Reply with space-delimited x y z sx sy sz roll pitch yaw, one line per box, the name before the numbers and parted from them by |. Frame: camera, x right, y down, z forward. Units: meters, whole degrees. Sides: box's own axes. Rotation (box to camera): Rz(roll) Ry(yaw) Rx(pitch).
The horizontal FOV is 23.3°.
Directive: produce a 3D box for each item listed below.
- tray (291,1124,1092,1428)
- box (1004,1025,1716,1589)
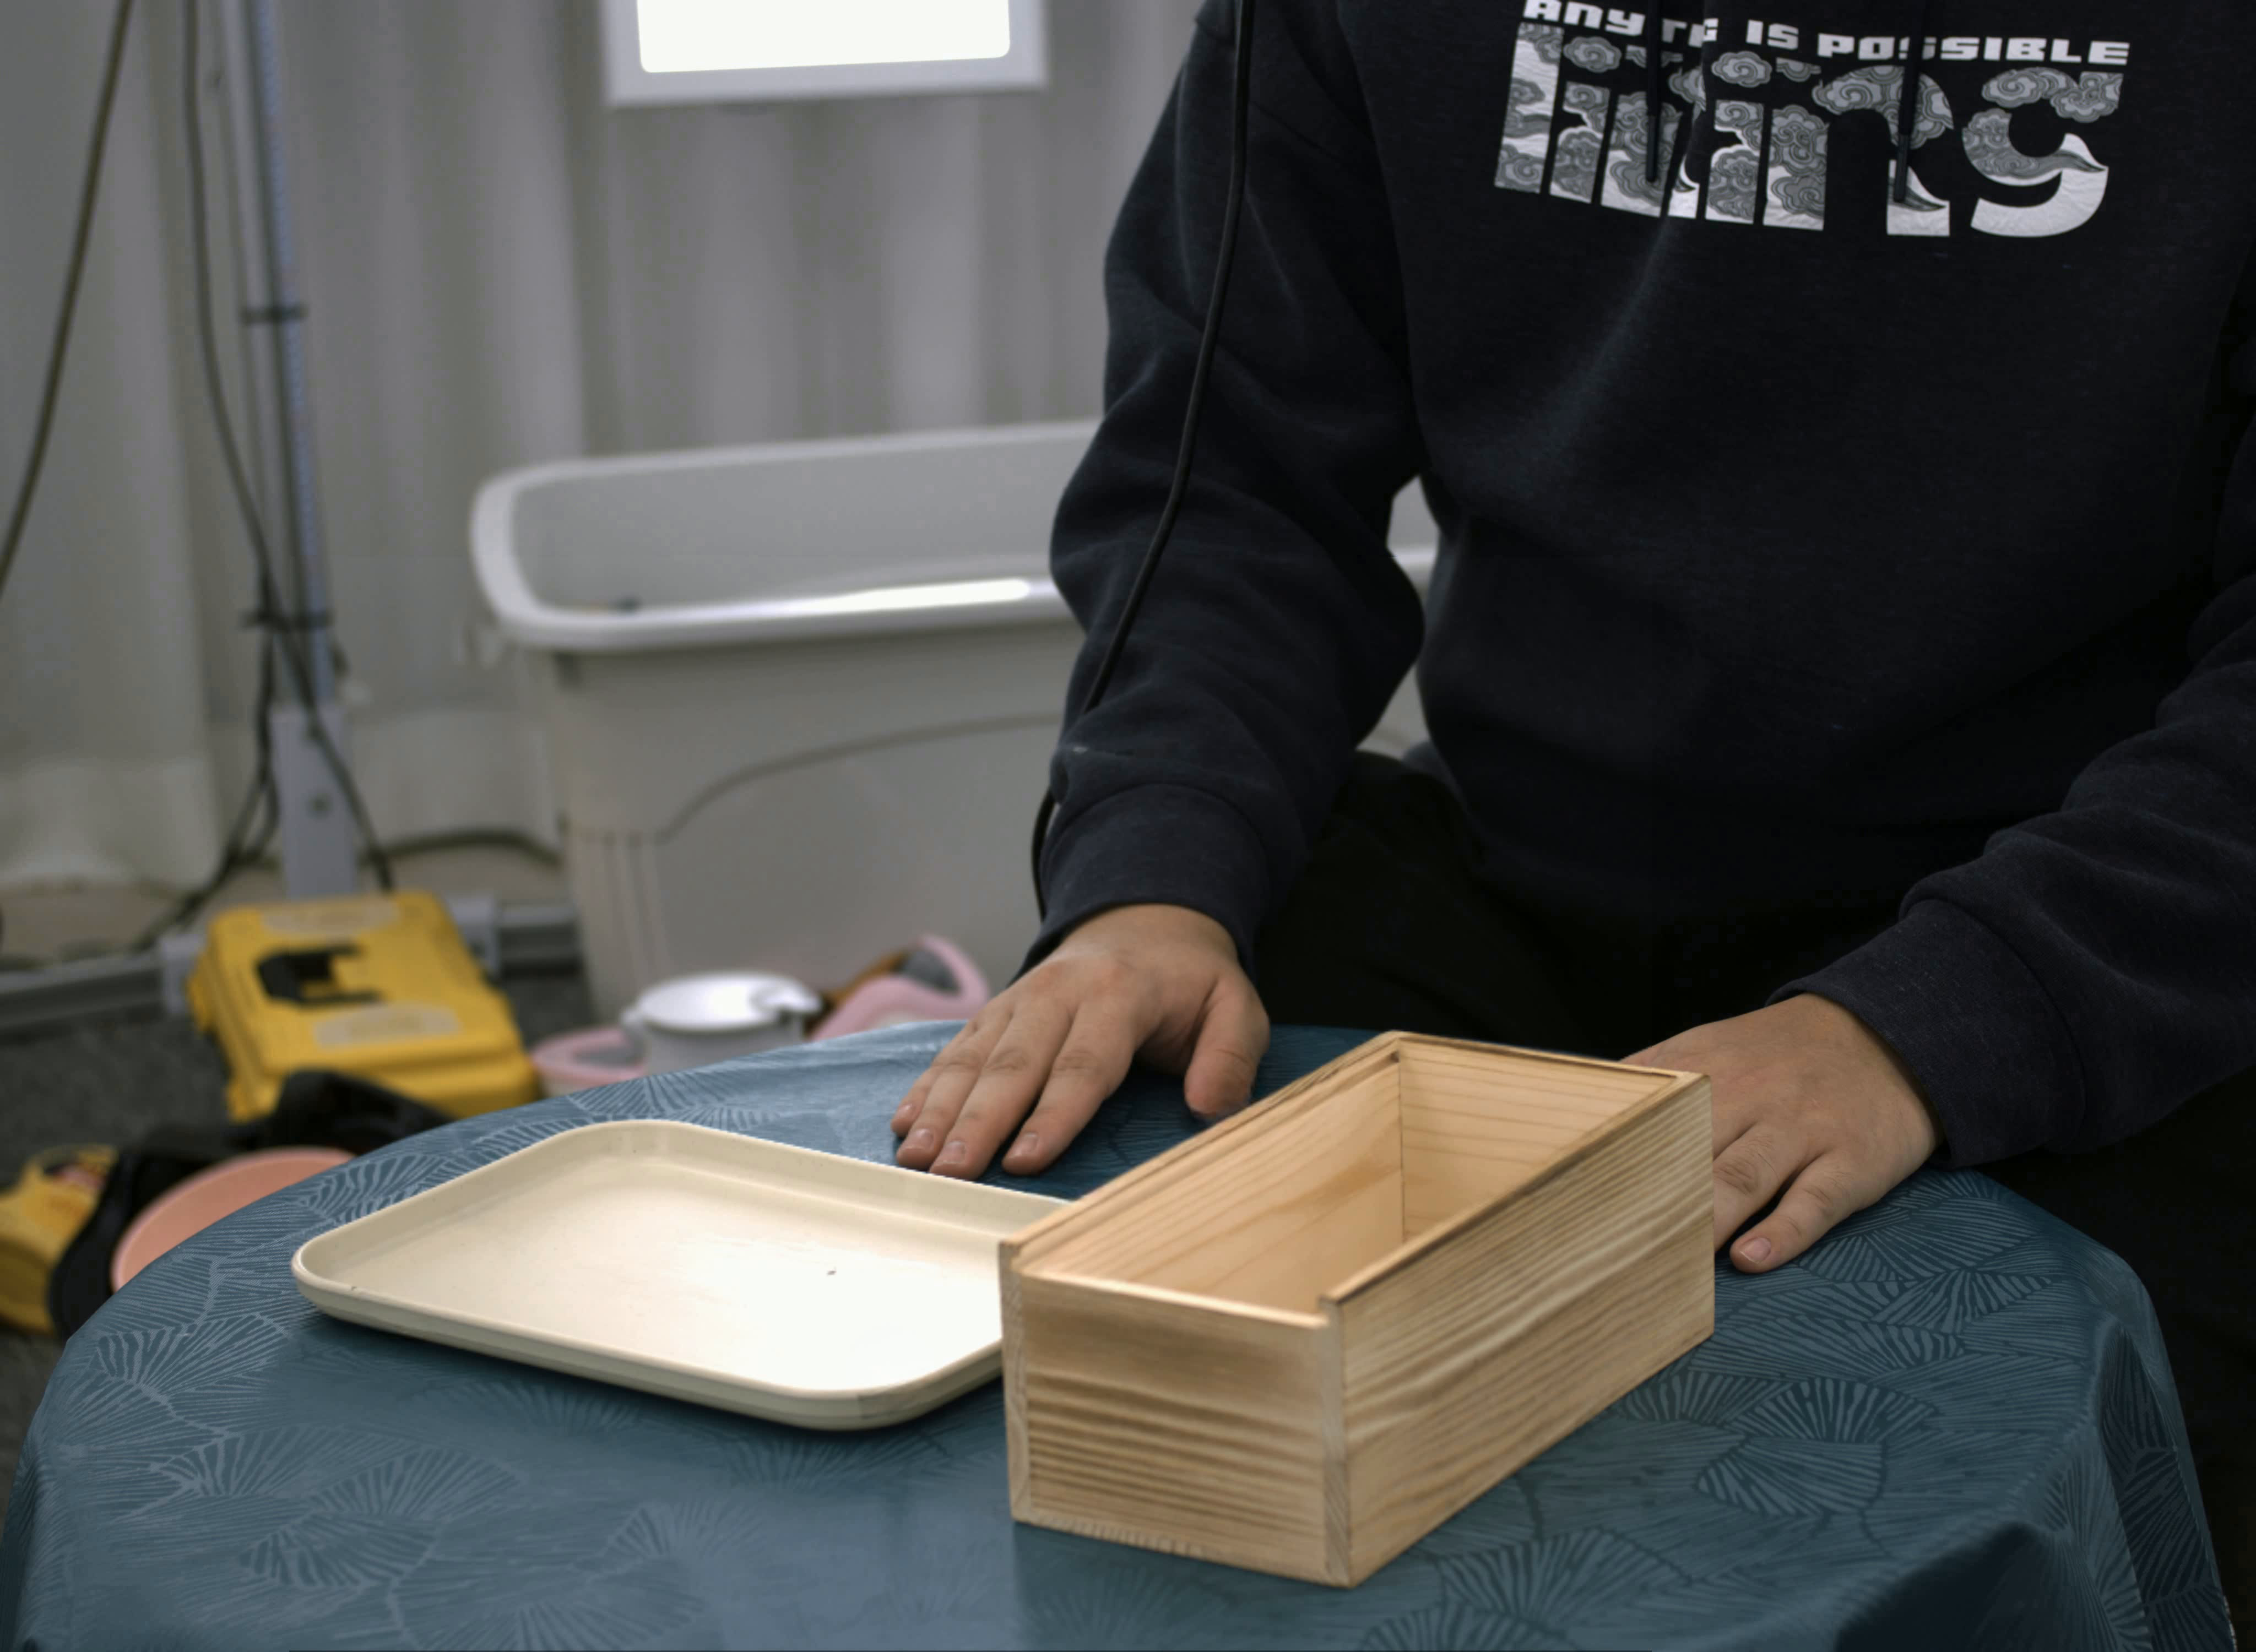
tray | -0.117 0.133 1.634 0.240 0.017 0.171 8 18 35
box | 0.068 0.127 1.503 0.108 0.080 0.211 7 17 31
